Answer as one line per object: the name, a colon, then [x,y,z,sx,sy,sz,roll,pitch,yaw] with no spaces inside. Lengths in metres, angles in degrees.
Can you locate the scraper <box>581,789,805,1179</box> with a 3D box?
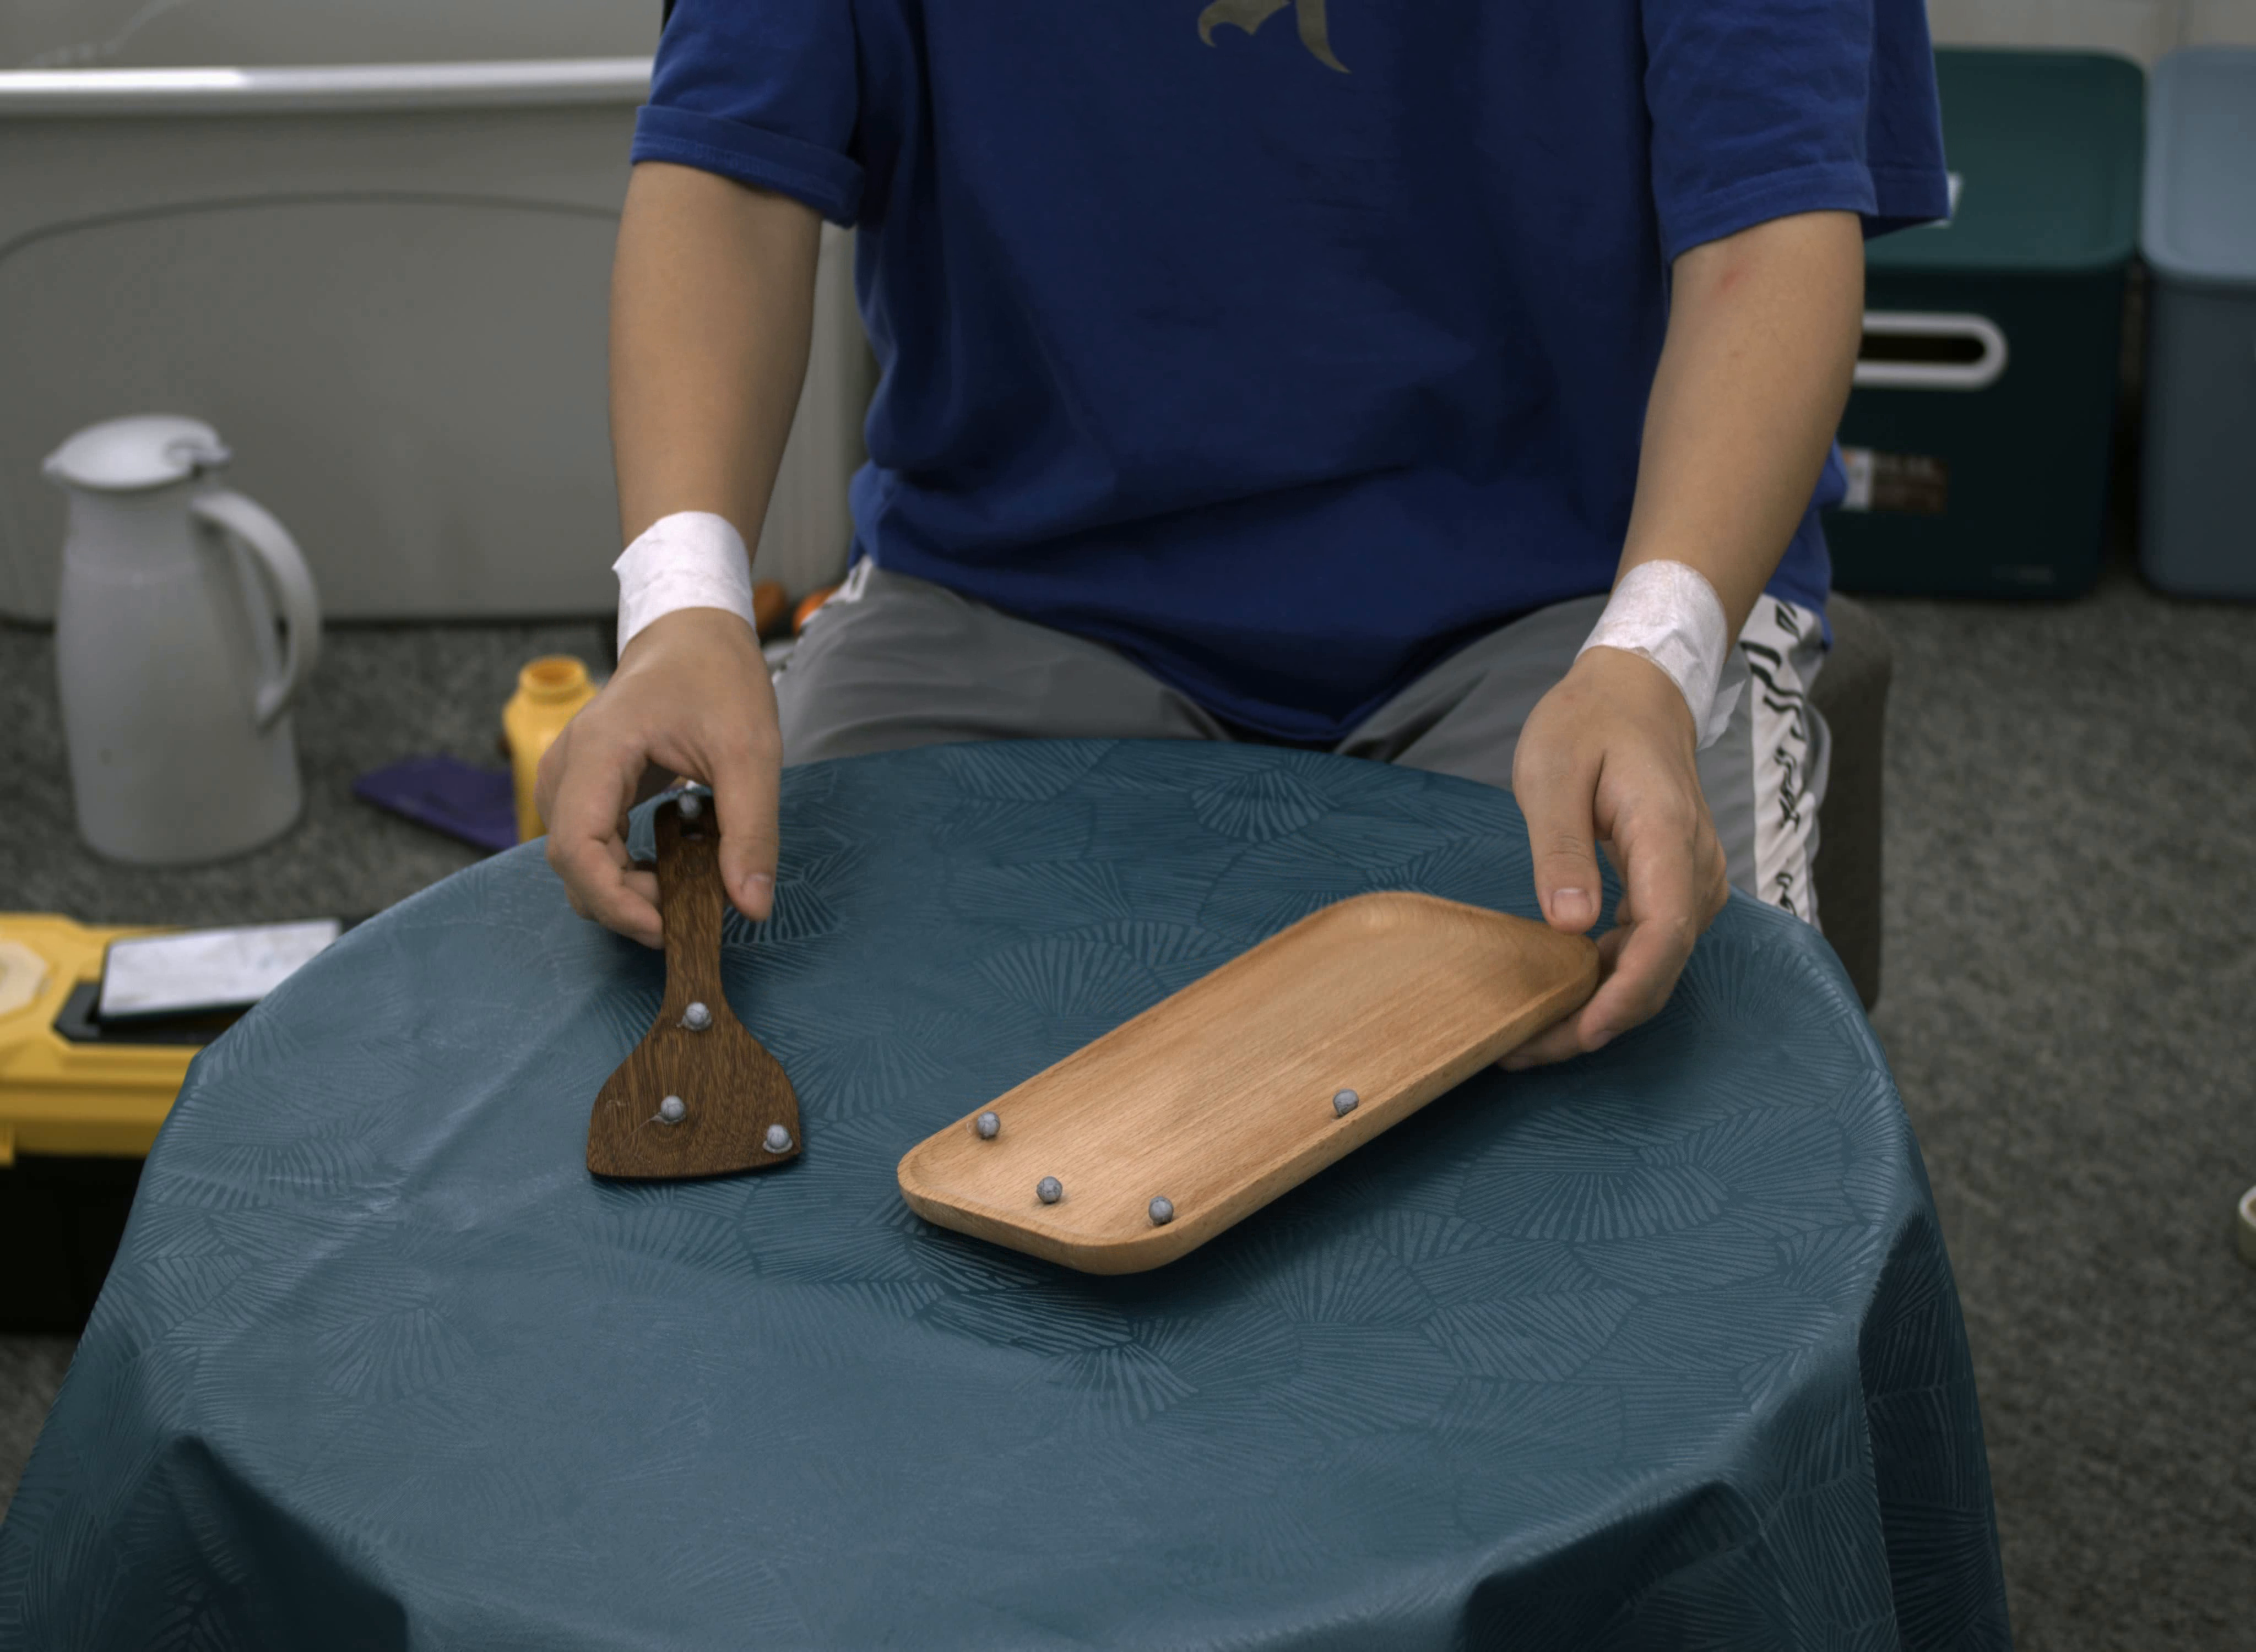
scraper: [-0.152,0.054,1.962,0.075,0.010,0.215,-2,38,-4]

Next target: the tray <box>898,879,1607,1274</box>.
tray: [0.044,0.082,1.890,0.254,0.022,0.130,-29,31,-37]
